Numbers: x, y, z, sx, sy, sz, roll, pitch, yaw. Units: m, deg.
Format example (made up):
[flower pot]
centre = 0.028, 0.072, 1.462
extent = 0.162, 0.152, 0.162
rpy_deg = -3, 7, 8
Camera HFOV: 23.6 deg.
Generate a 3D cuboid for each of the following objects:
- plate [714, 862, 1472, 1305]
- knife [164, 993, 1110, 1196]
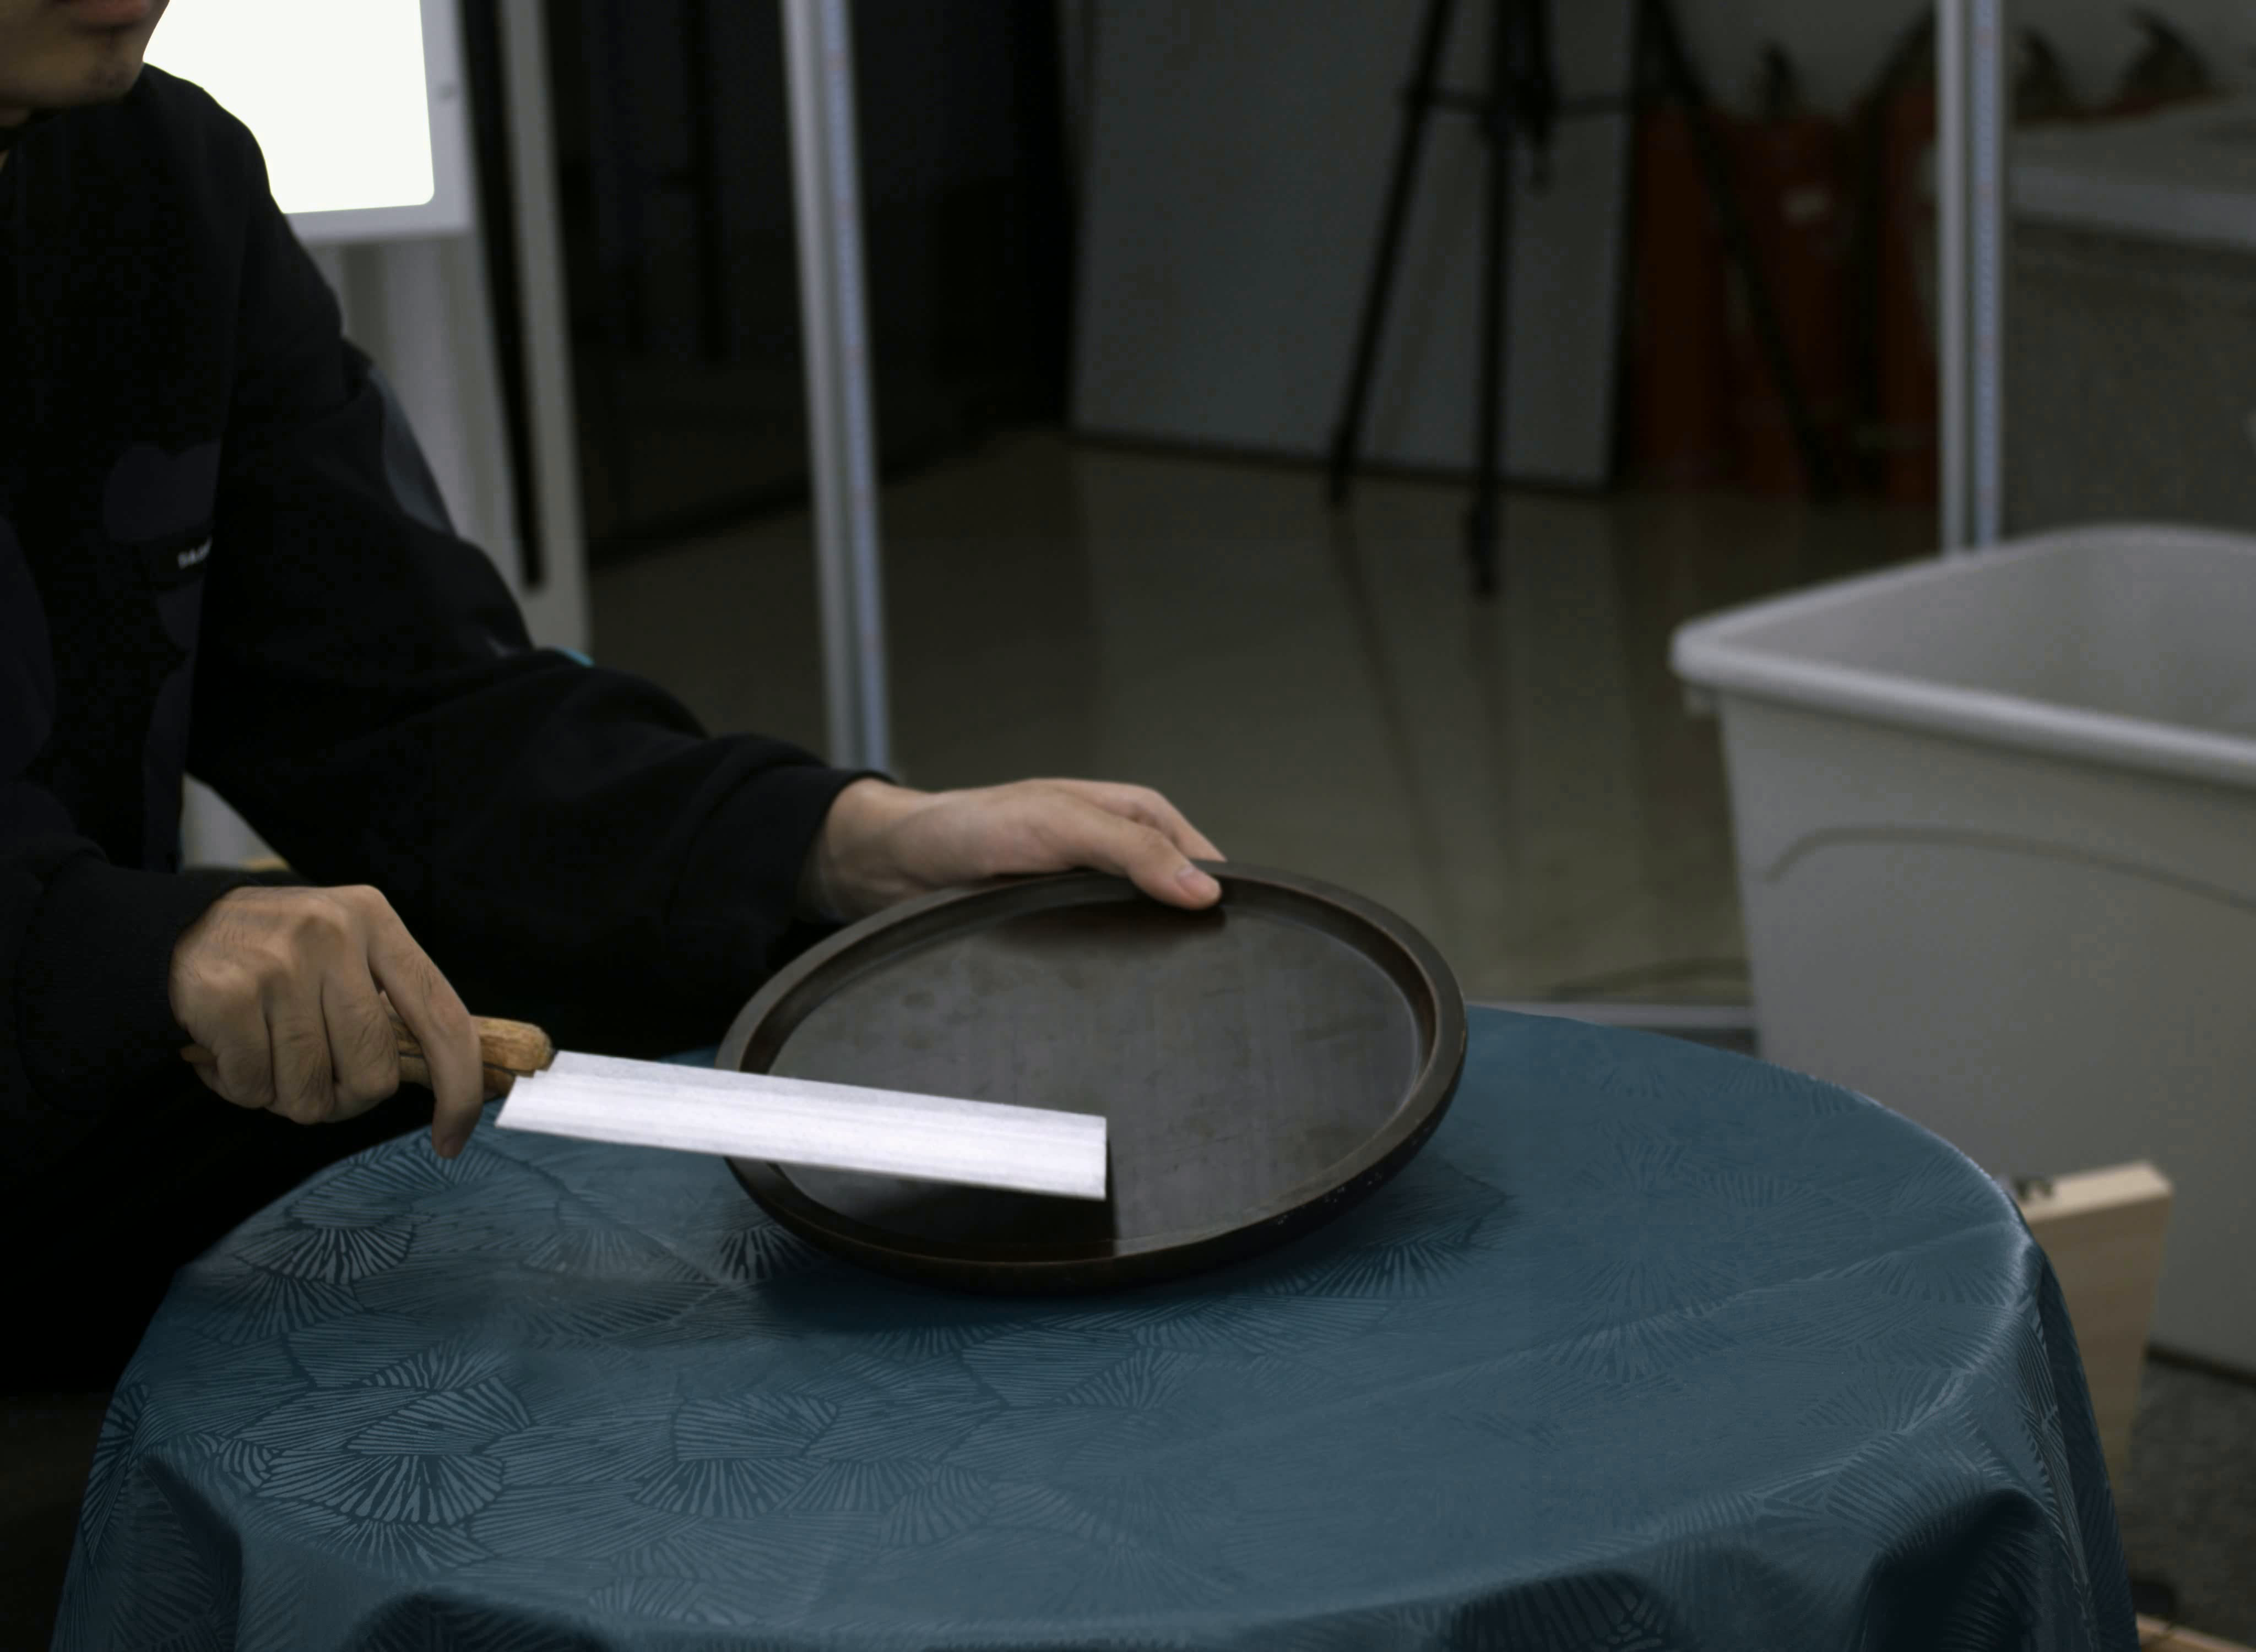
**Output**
[plate]
centre = -0.012, 0.082, 1.766
extent = 0.252, 0.029, 0.256
rpy_deg = -7, 30, 3
[knife]
centre = -0.155, 0.088, 1.694
extent = 0.302, 0.021, 0.093
rpy_deg = 7, 15, 0
